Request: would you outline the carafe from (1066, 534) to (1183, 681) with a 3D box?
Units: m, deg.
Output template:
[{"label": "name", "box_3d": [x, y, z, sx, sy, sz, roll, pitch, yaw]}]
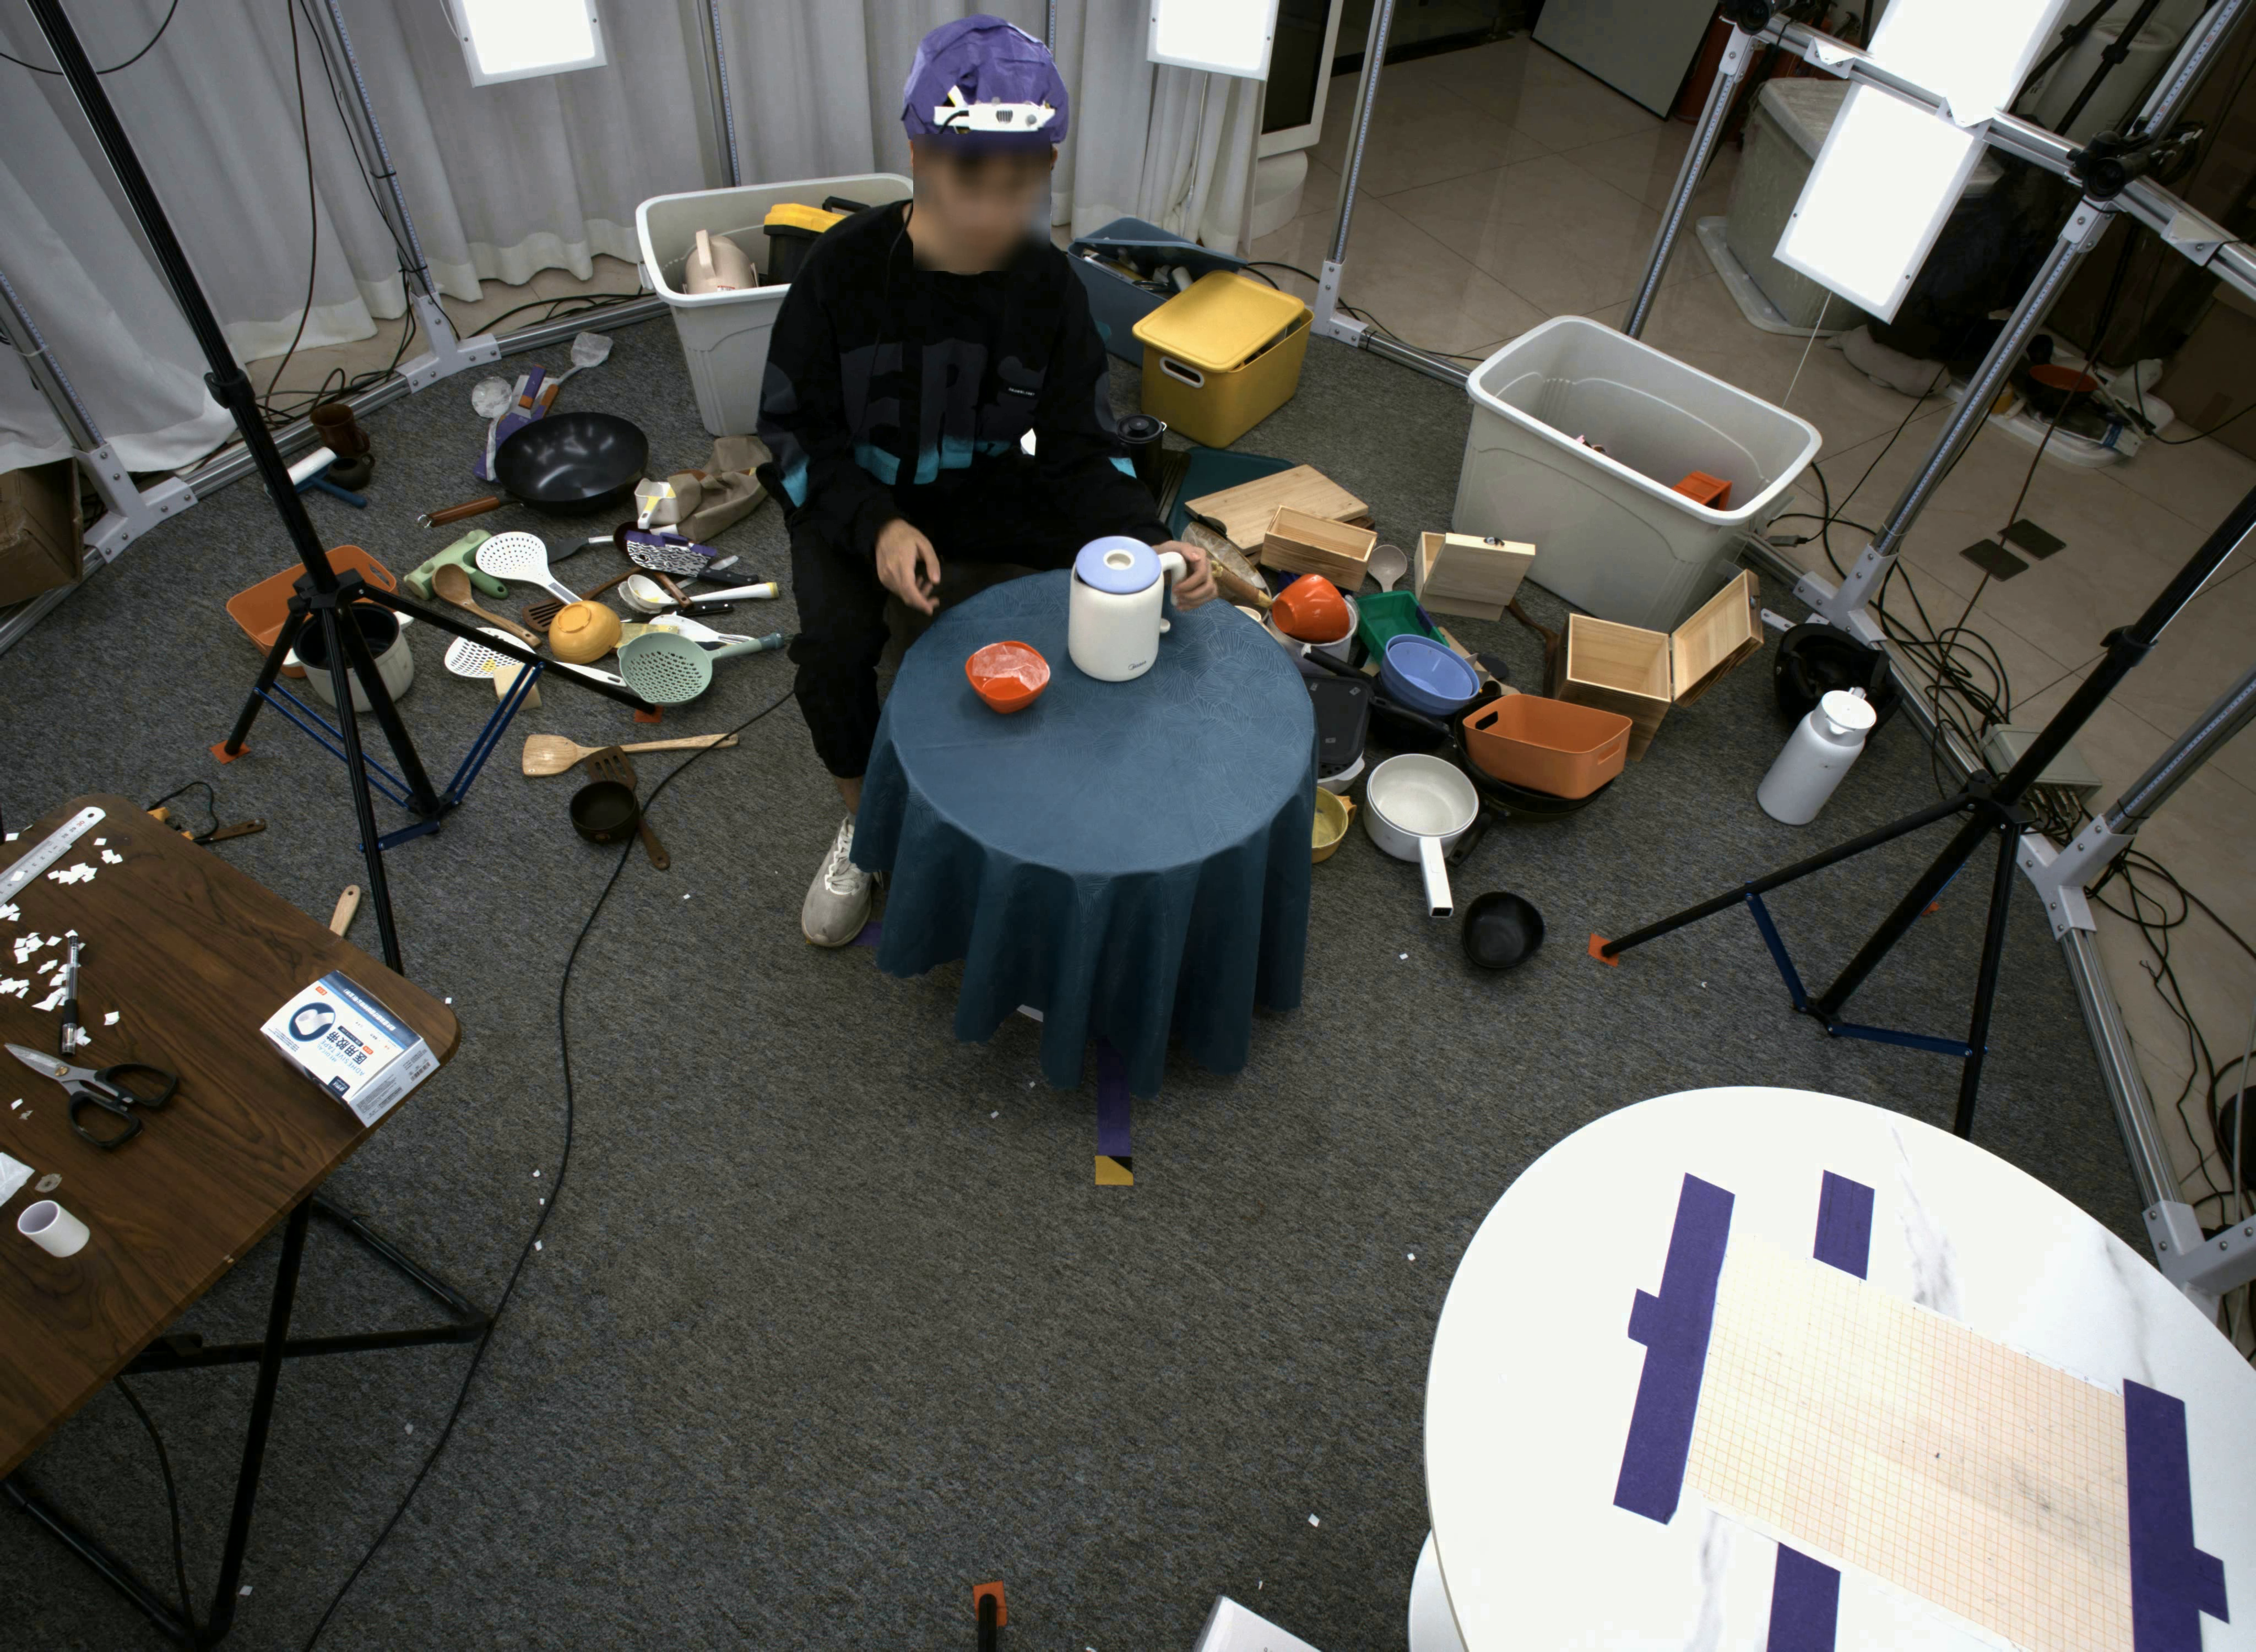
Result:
[{"label": "carafe", "box_3d": [0.001, -0.318, 1.834, 0.192, 0.178, 0.135, -24, 56, -25]}]

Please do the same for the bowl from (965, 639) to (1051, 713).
[{"label": "bowl", "box_3d": [-0.168, -0.204, 1.799, 0.119, 0.050, 0.122, 2, 52, -2]}]
